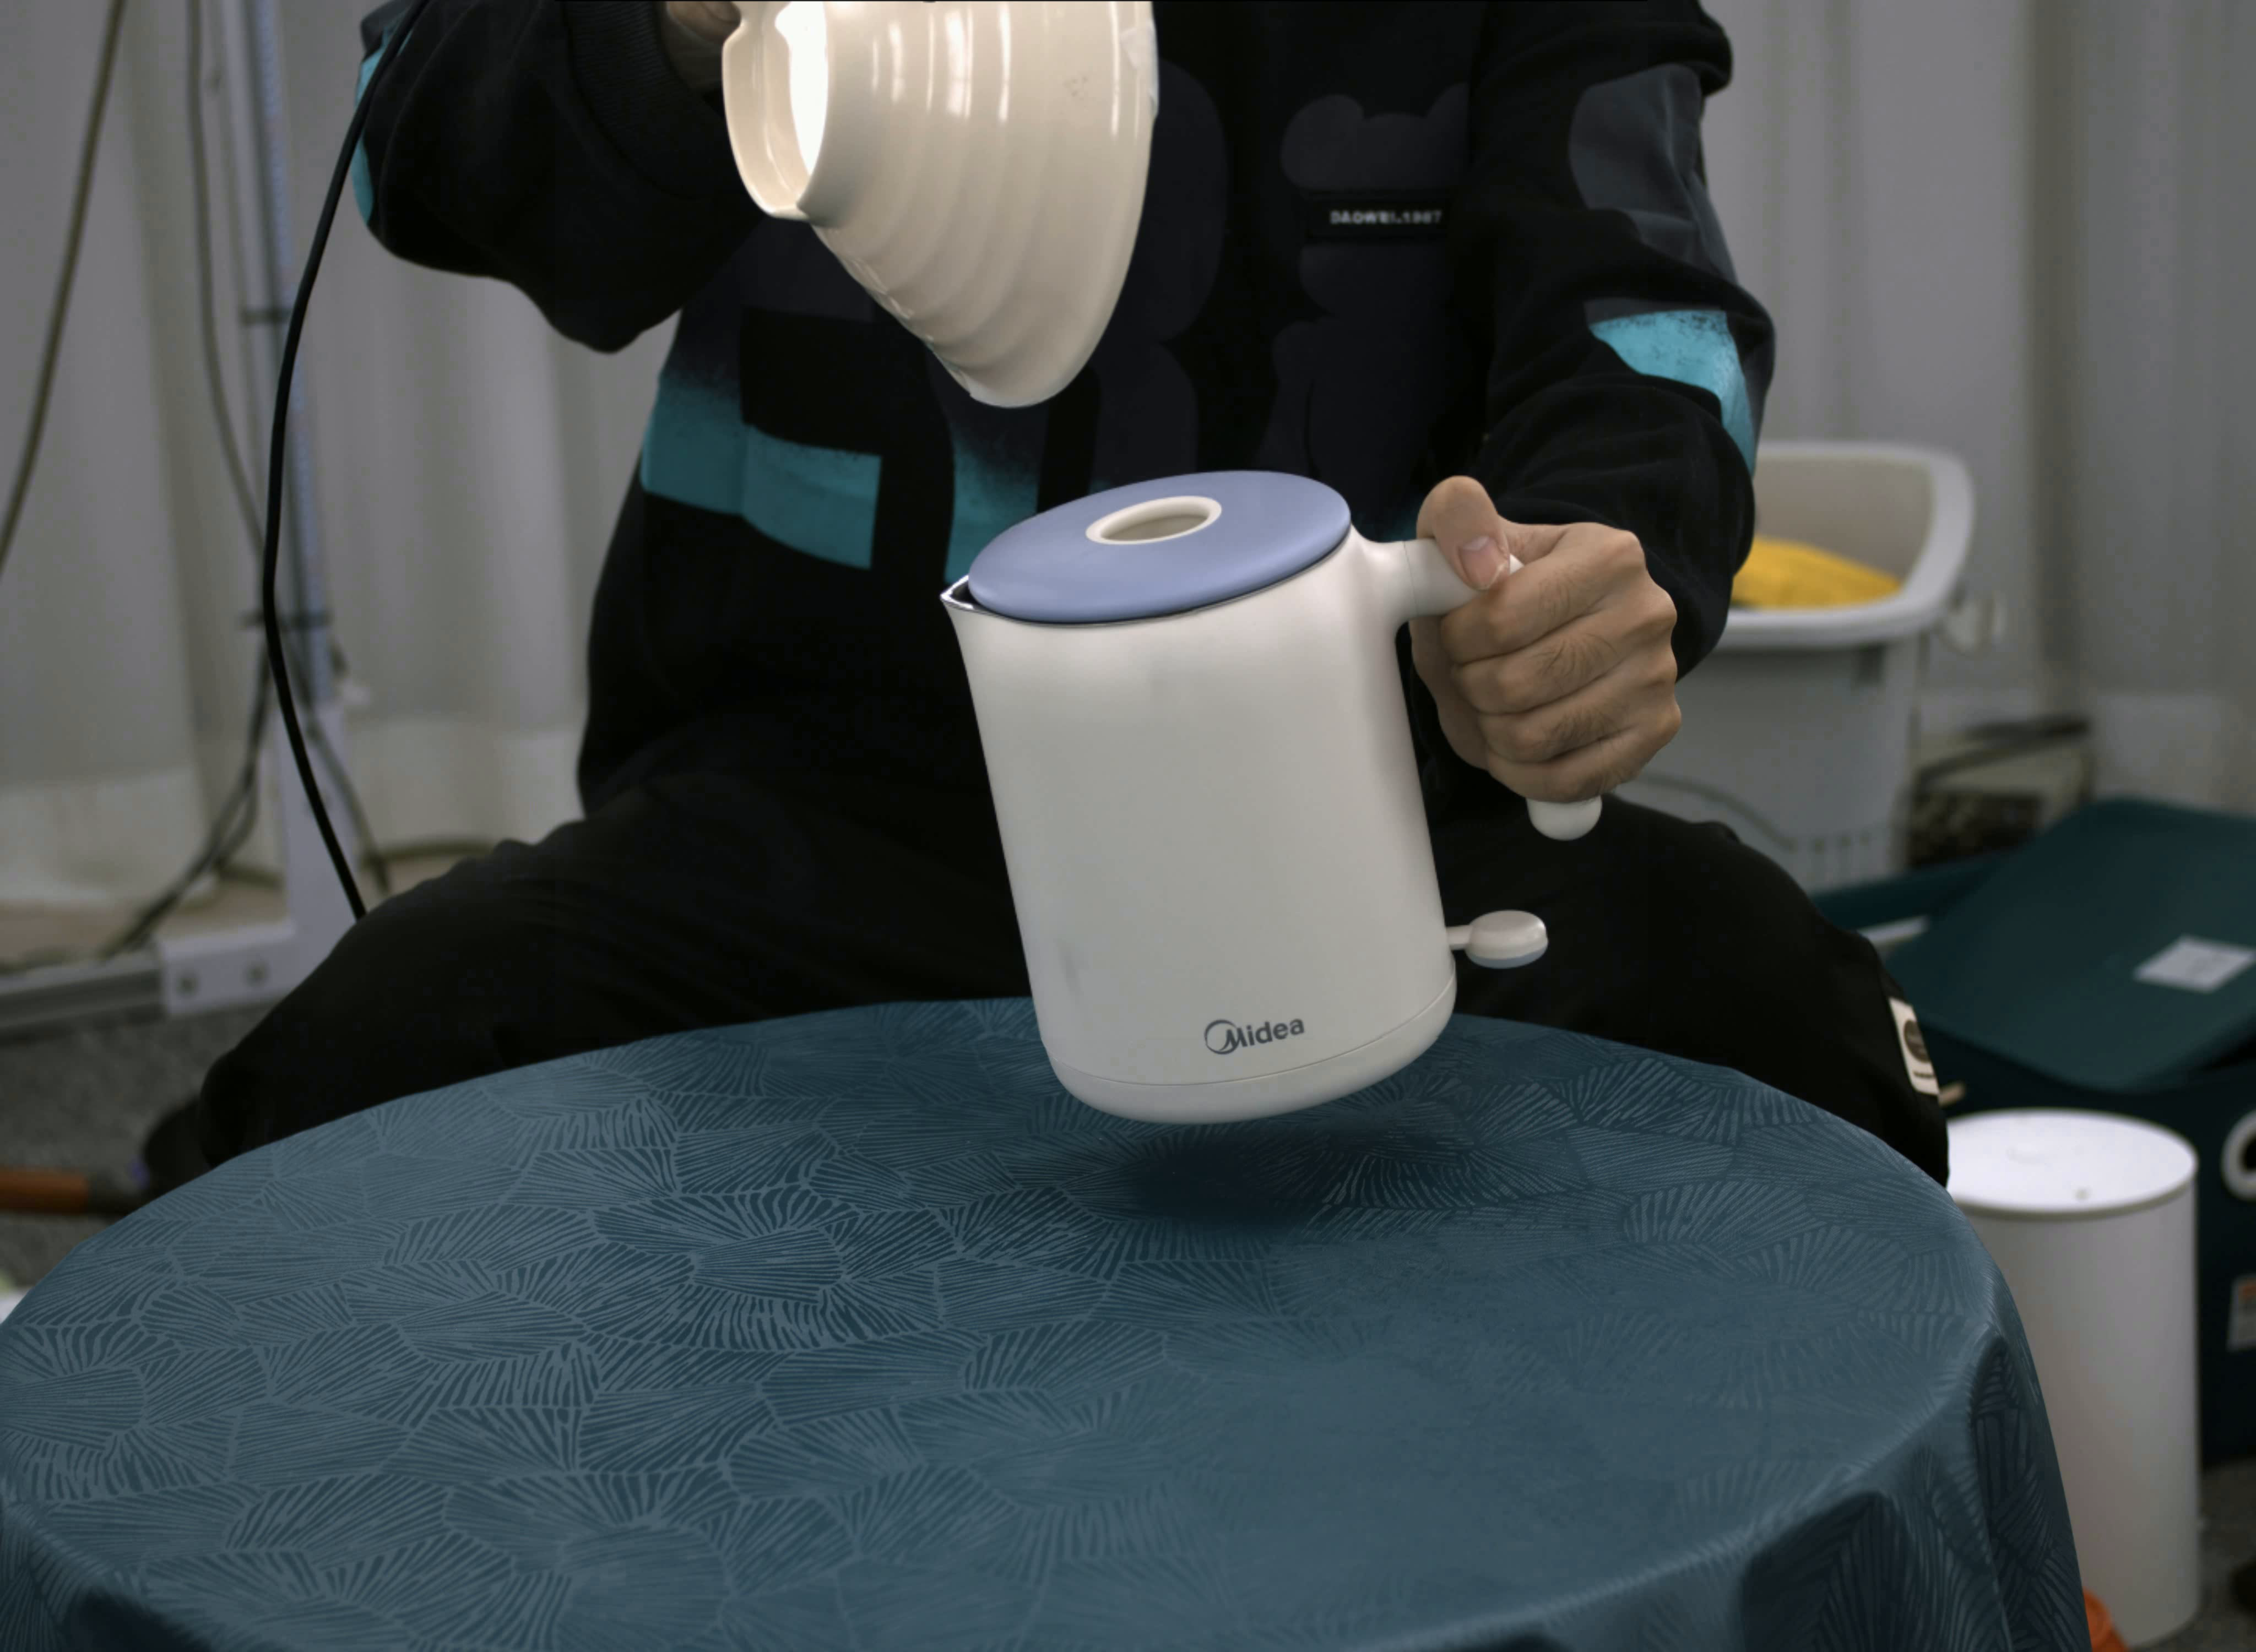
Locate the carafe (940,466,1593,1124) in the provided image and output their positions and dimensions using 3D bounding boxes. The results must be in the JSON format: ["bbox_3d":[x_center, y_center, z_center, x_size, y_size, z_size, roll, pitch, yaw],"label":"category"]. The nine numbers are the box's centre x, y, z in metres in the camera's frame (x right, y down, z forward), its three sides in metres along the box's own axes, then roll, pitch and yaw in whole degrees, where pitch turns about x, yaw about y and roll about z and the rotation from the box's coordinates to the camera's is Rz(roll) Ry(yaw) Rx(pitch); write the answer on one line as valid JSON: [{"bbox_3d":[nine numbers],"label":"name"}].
[{"bbox_3d":[0.048,-0.014,1.687,0.190,0.181,0.133,-9,20,-1],"label":"carafe"}]

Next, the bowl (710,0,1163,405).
[{"bbox_3d":[-0.070,-0.225,1.607,0.077,0.203,0.205,-3,13,-28],"label":"bowl"}]
